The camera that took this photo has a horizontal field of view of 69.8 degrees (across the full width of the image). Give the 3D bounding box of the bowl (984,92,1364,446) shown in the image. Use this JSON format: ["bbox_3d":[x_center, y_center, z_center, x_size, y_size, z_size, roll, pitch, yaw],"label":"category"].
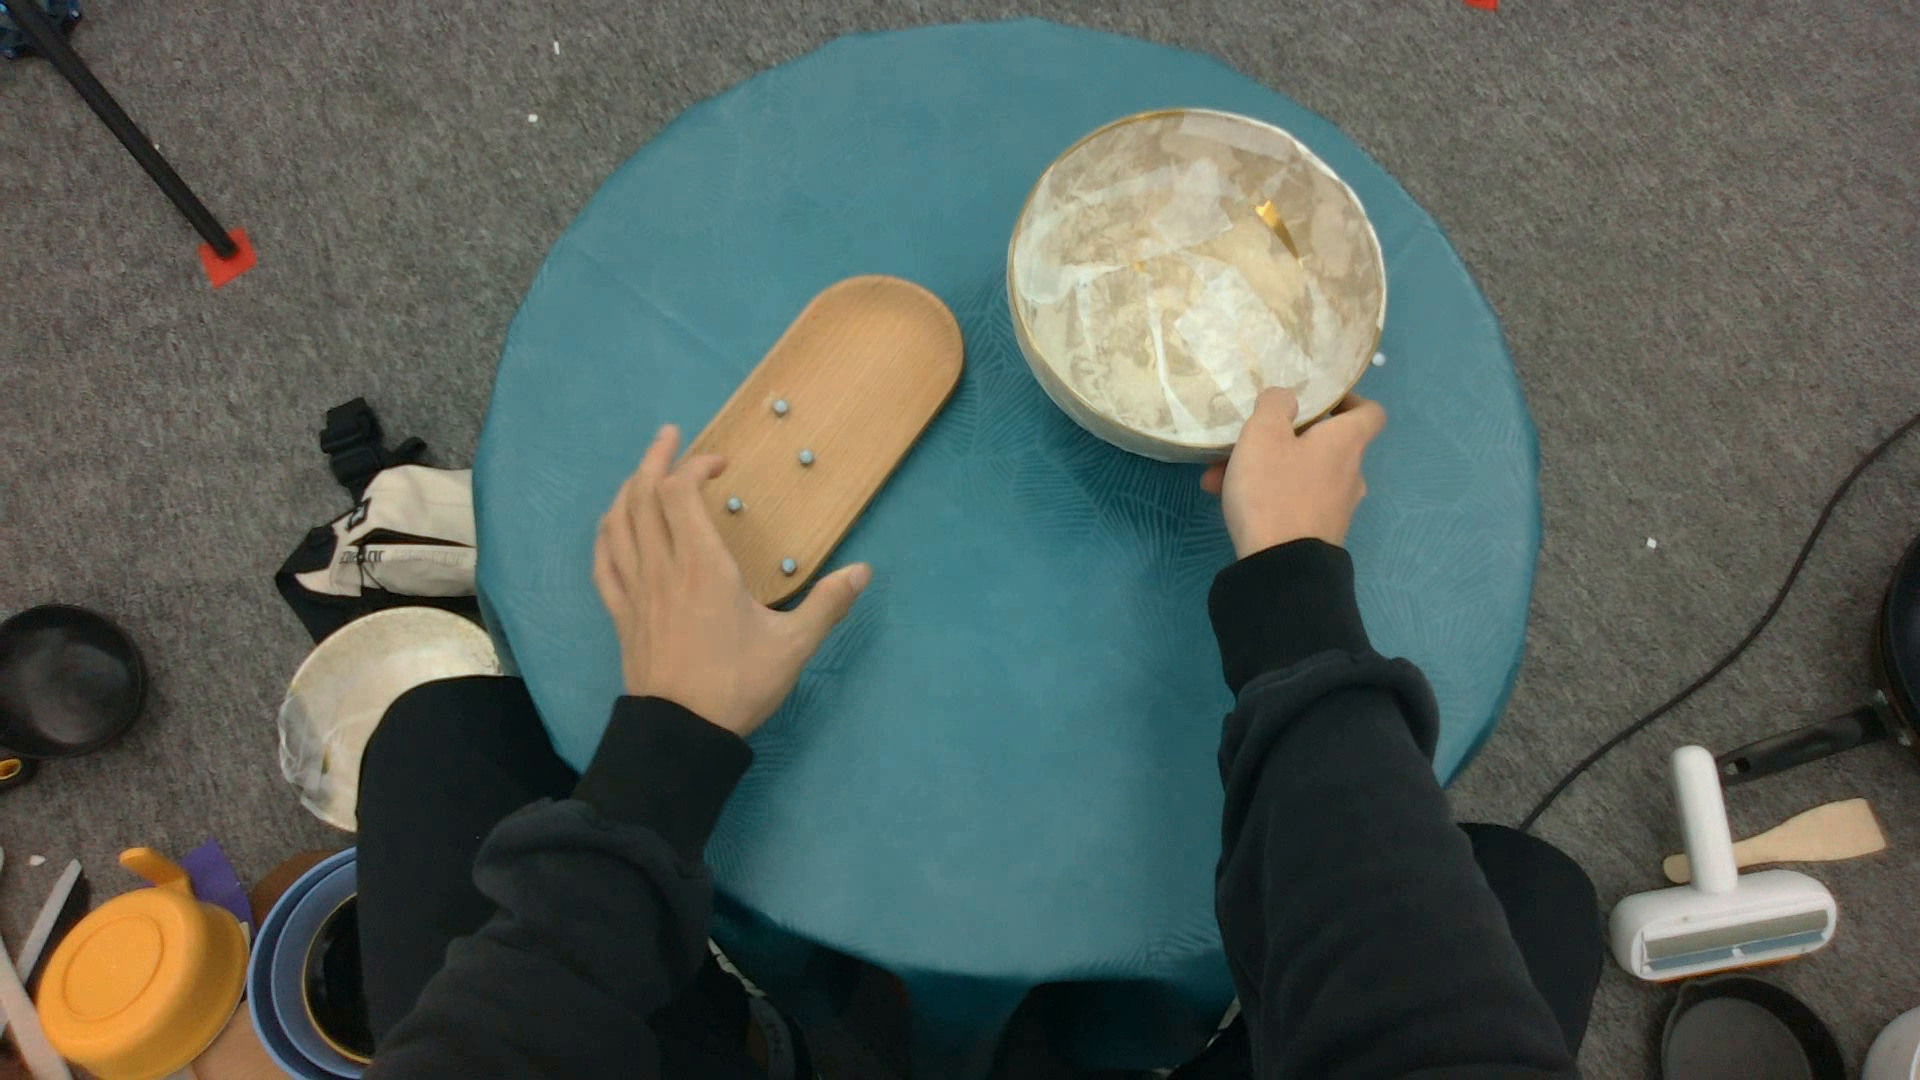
[{"bbox_3d":[0.107,-0.137,0.765,0.215,0.094,0.215,2,72,-7],"label":"bowl"}]

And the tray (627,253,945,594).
[{"bbox_3d":[-0.095,-0.068,0.773,0.101,0.020,0.232,32,68,8],"label":"tray"}]
